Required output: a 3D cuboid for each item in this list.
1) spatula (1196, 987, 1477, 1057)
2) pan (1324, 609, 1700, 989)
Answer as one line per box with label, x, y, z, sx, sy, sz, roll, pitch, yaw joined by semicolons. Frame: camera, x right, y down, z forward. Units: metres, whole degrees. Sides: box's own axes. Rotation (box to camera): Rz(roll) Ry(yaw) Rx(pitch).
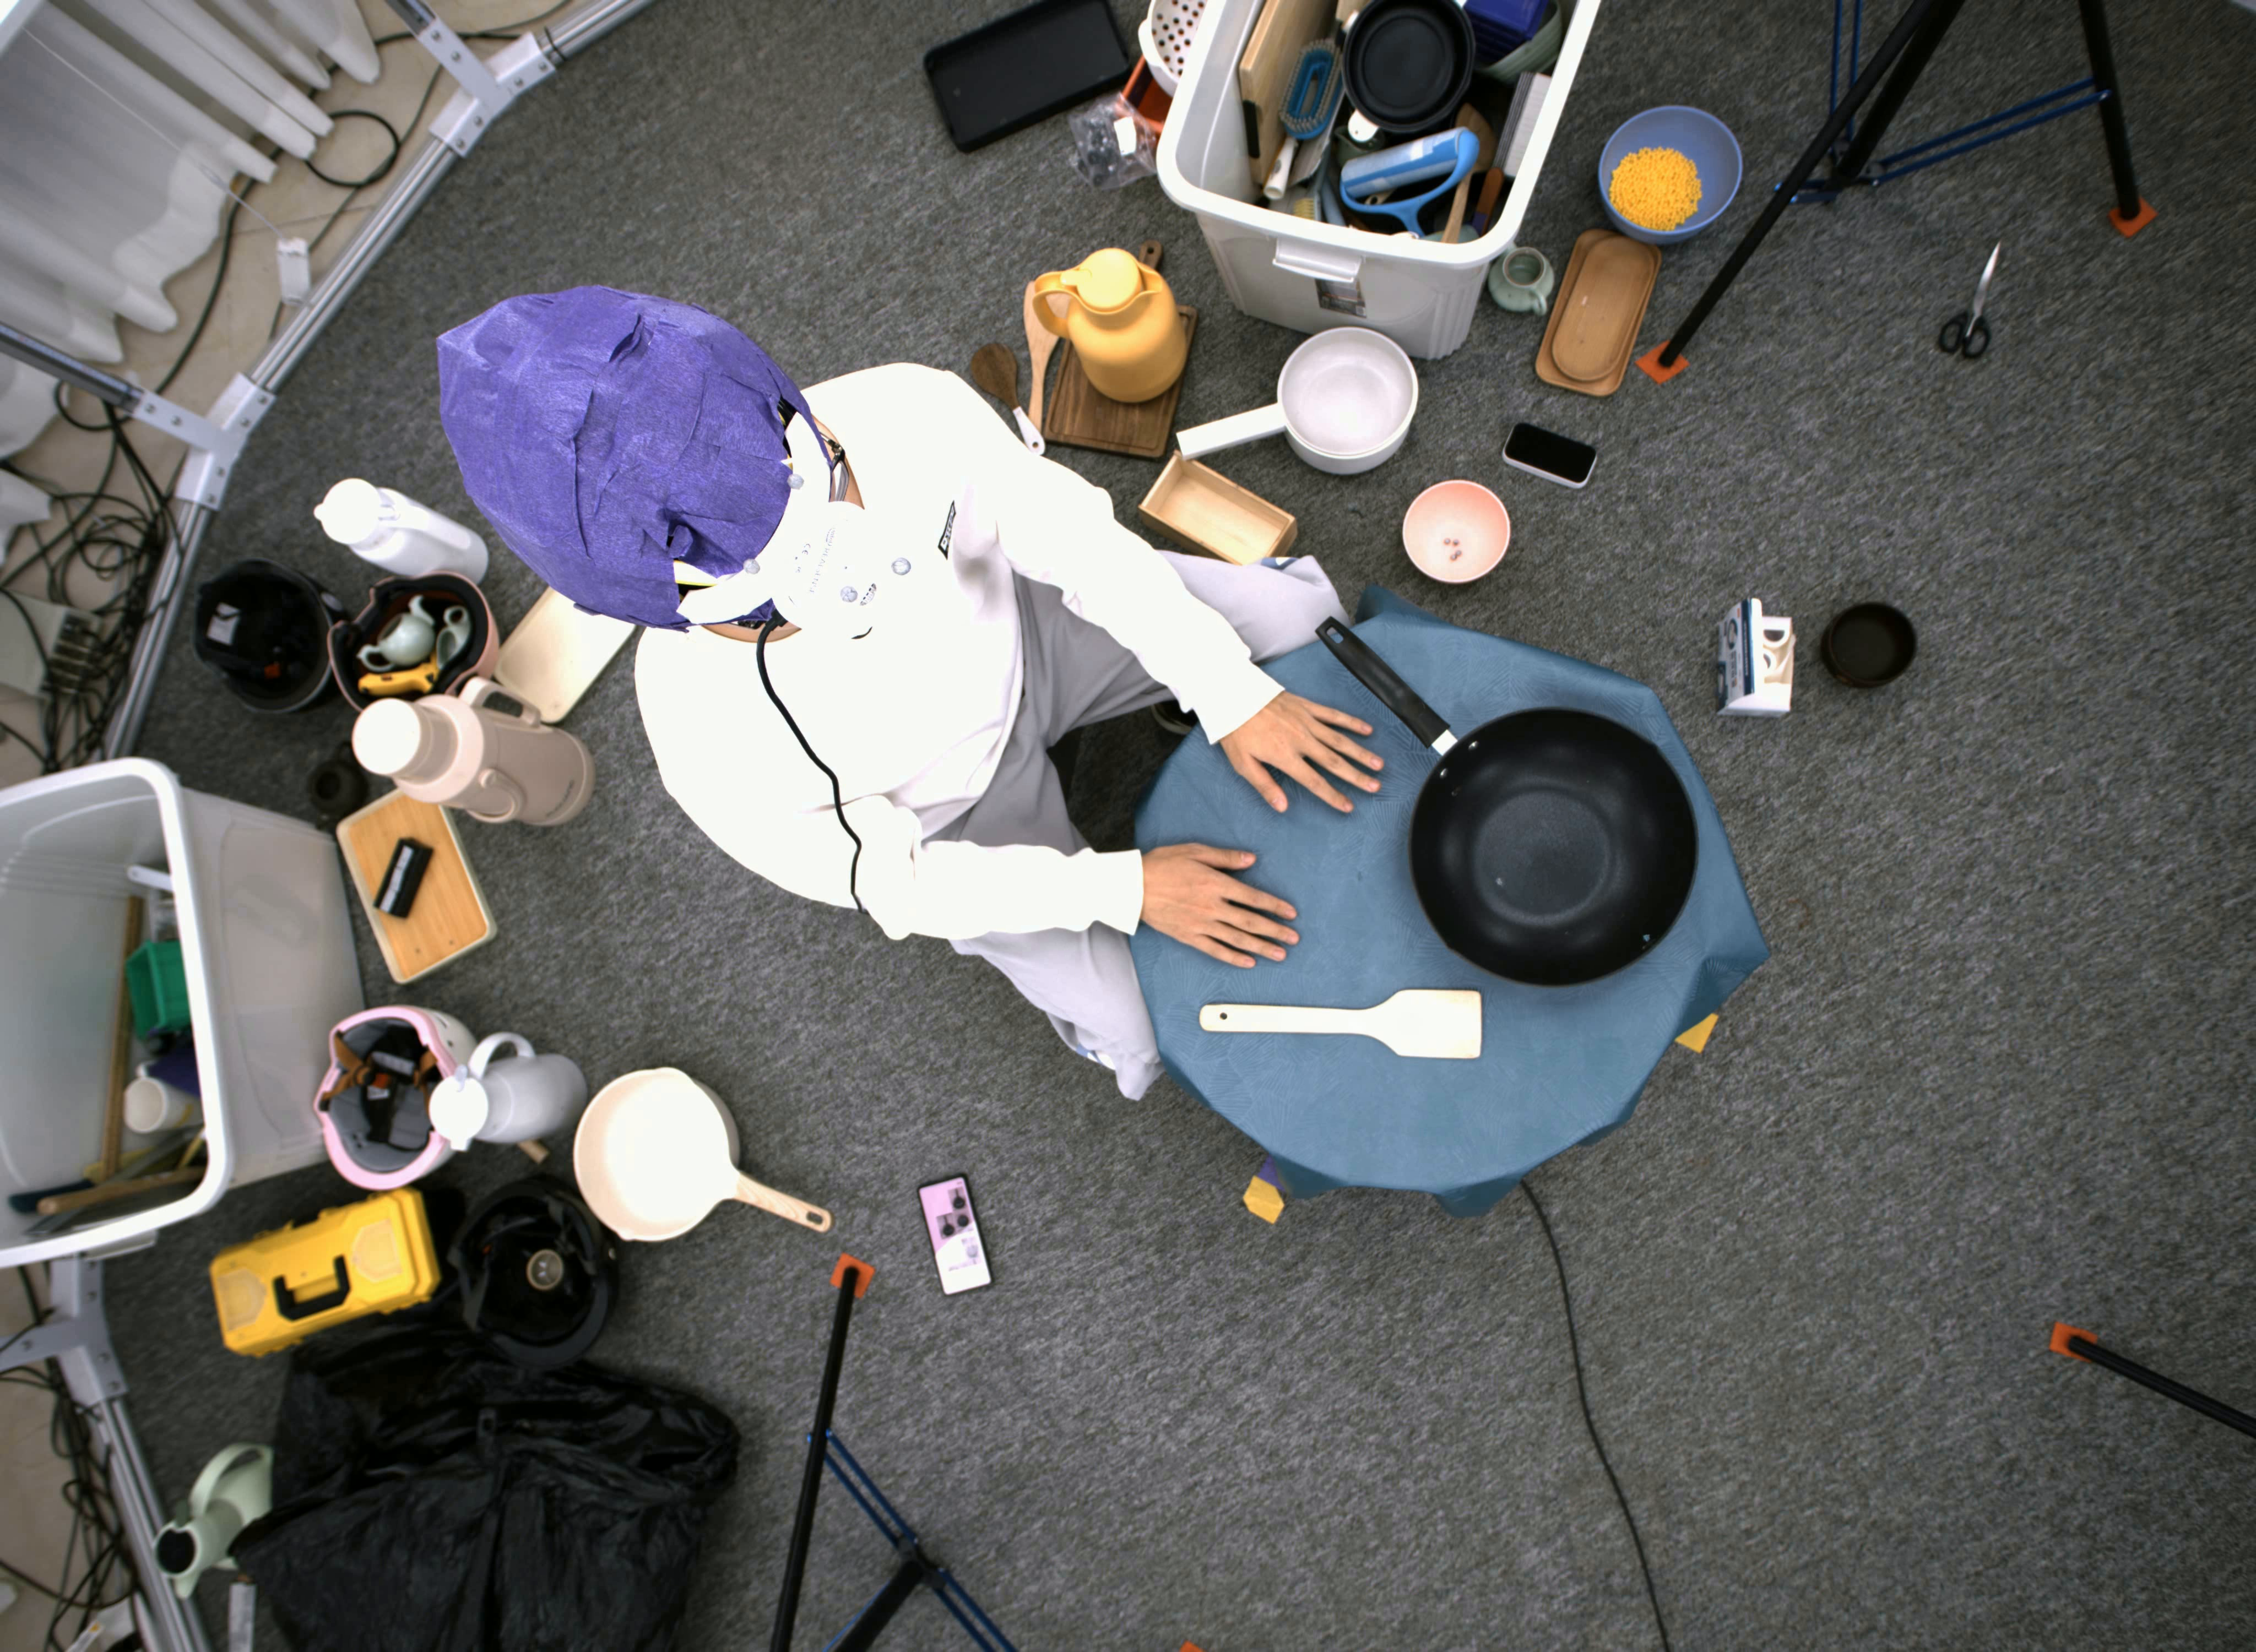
spatula;0.218;0.202;1.458;0.294;0.010;0.072;0;88;11
pan;0.364;-0.043;1.407;0.289;0.087;0.461;-44;79;5
